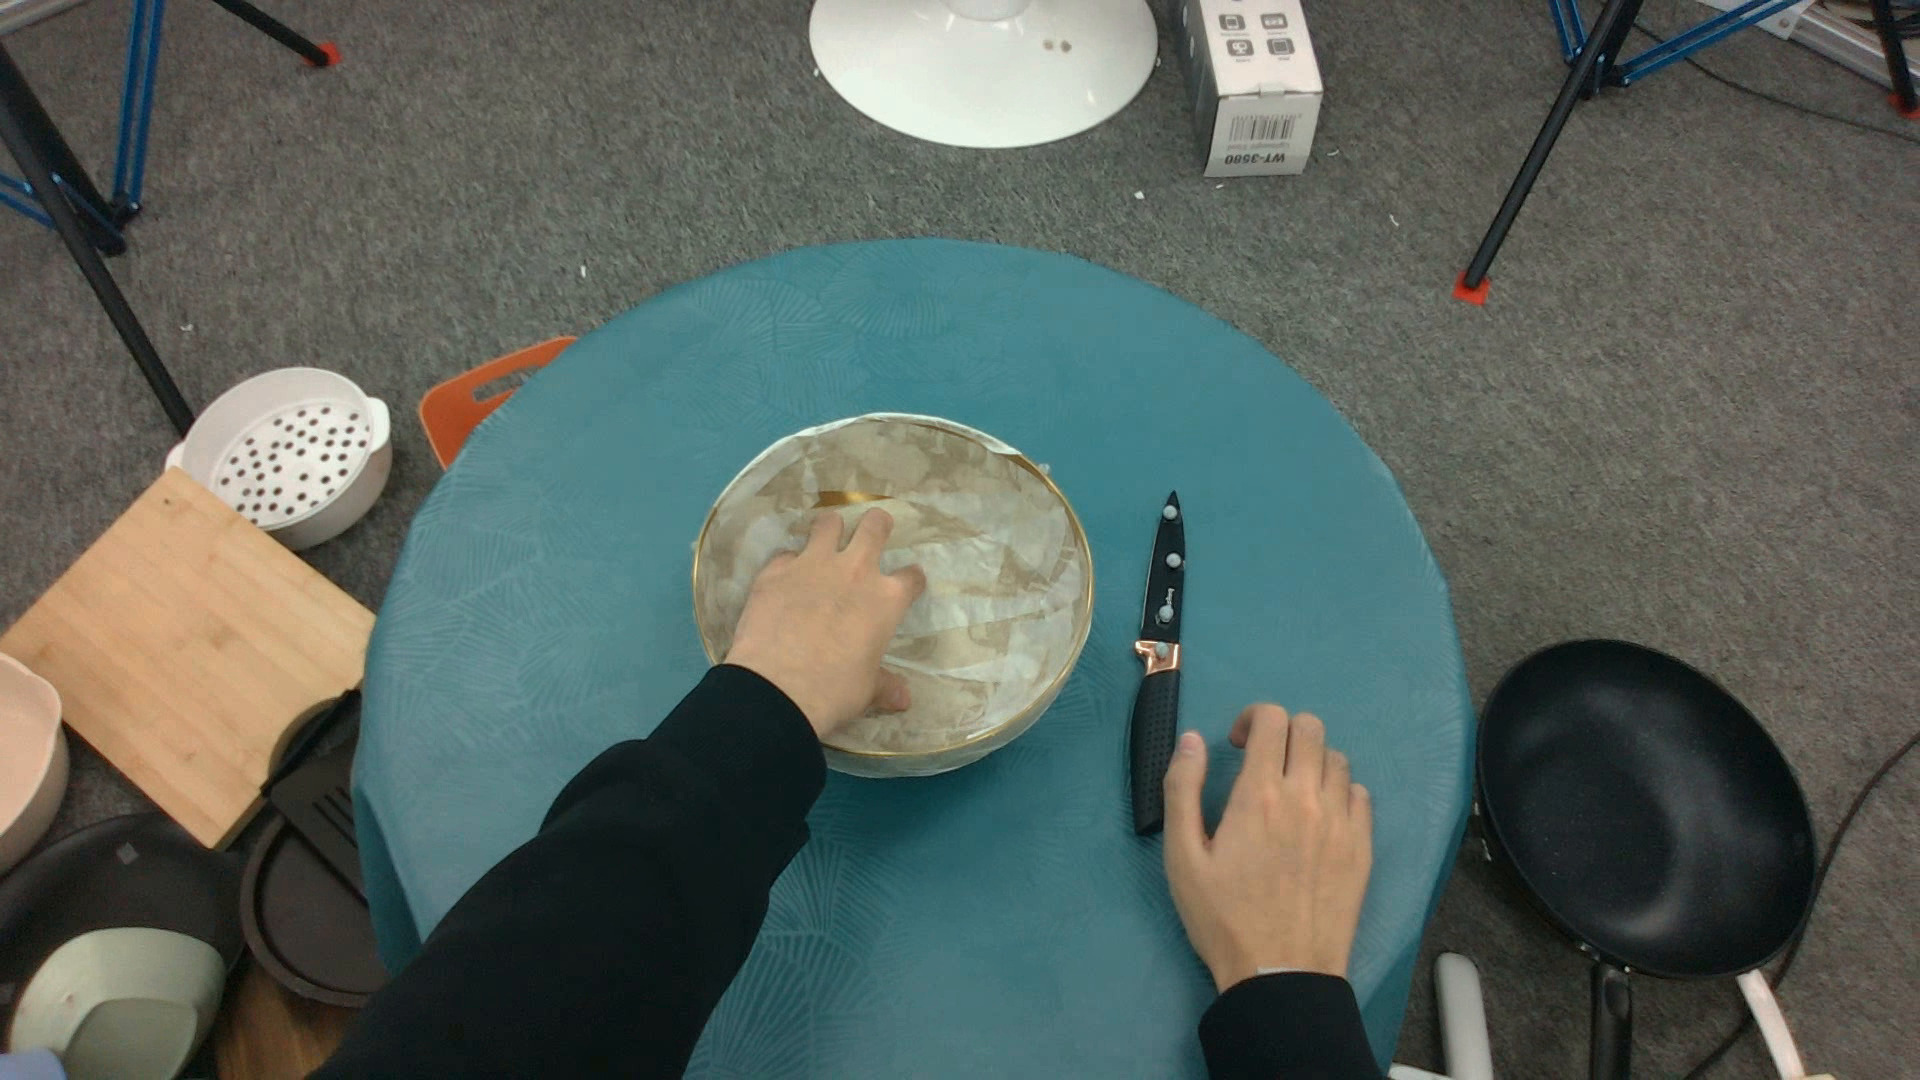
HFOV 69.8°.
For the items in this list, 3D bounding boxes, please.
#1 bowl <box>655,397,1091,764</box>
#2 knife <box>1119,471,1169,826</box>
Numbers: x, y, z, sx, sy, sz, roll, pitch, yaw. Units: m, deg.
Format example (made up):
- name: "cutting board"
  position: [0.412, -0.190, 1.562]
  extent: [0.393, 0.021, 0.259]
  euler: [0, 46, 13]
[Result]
- name: "bowl"
  position: [-0.042, 0.035, 0.708]
  extent: [0.215, 0.094, 0.215]
  euler: [3, 56, -4]
- name: "knife"
  position: [0.102, 0.051, 0.759]
  extent: [0.026, 0.017, 0.226]
  euler: [4, 55, 6]
